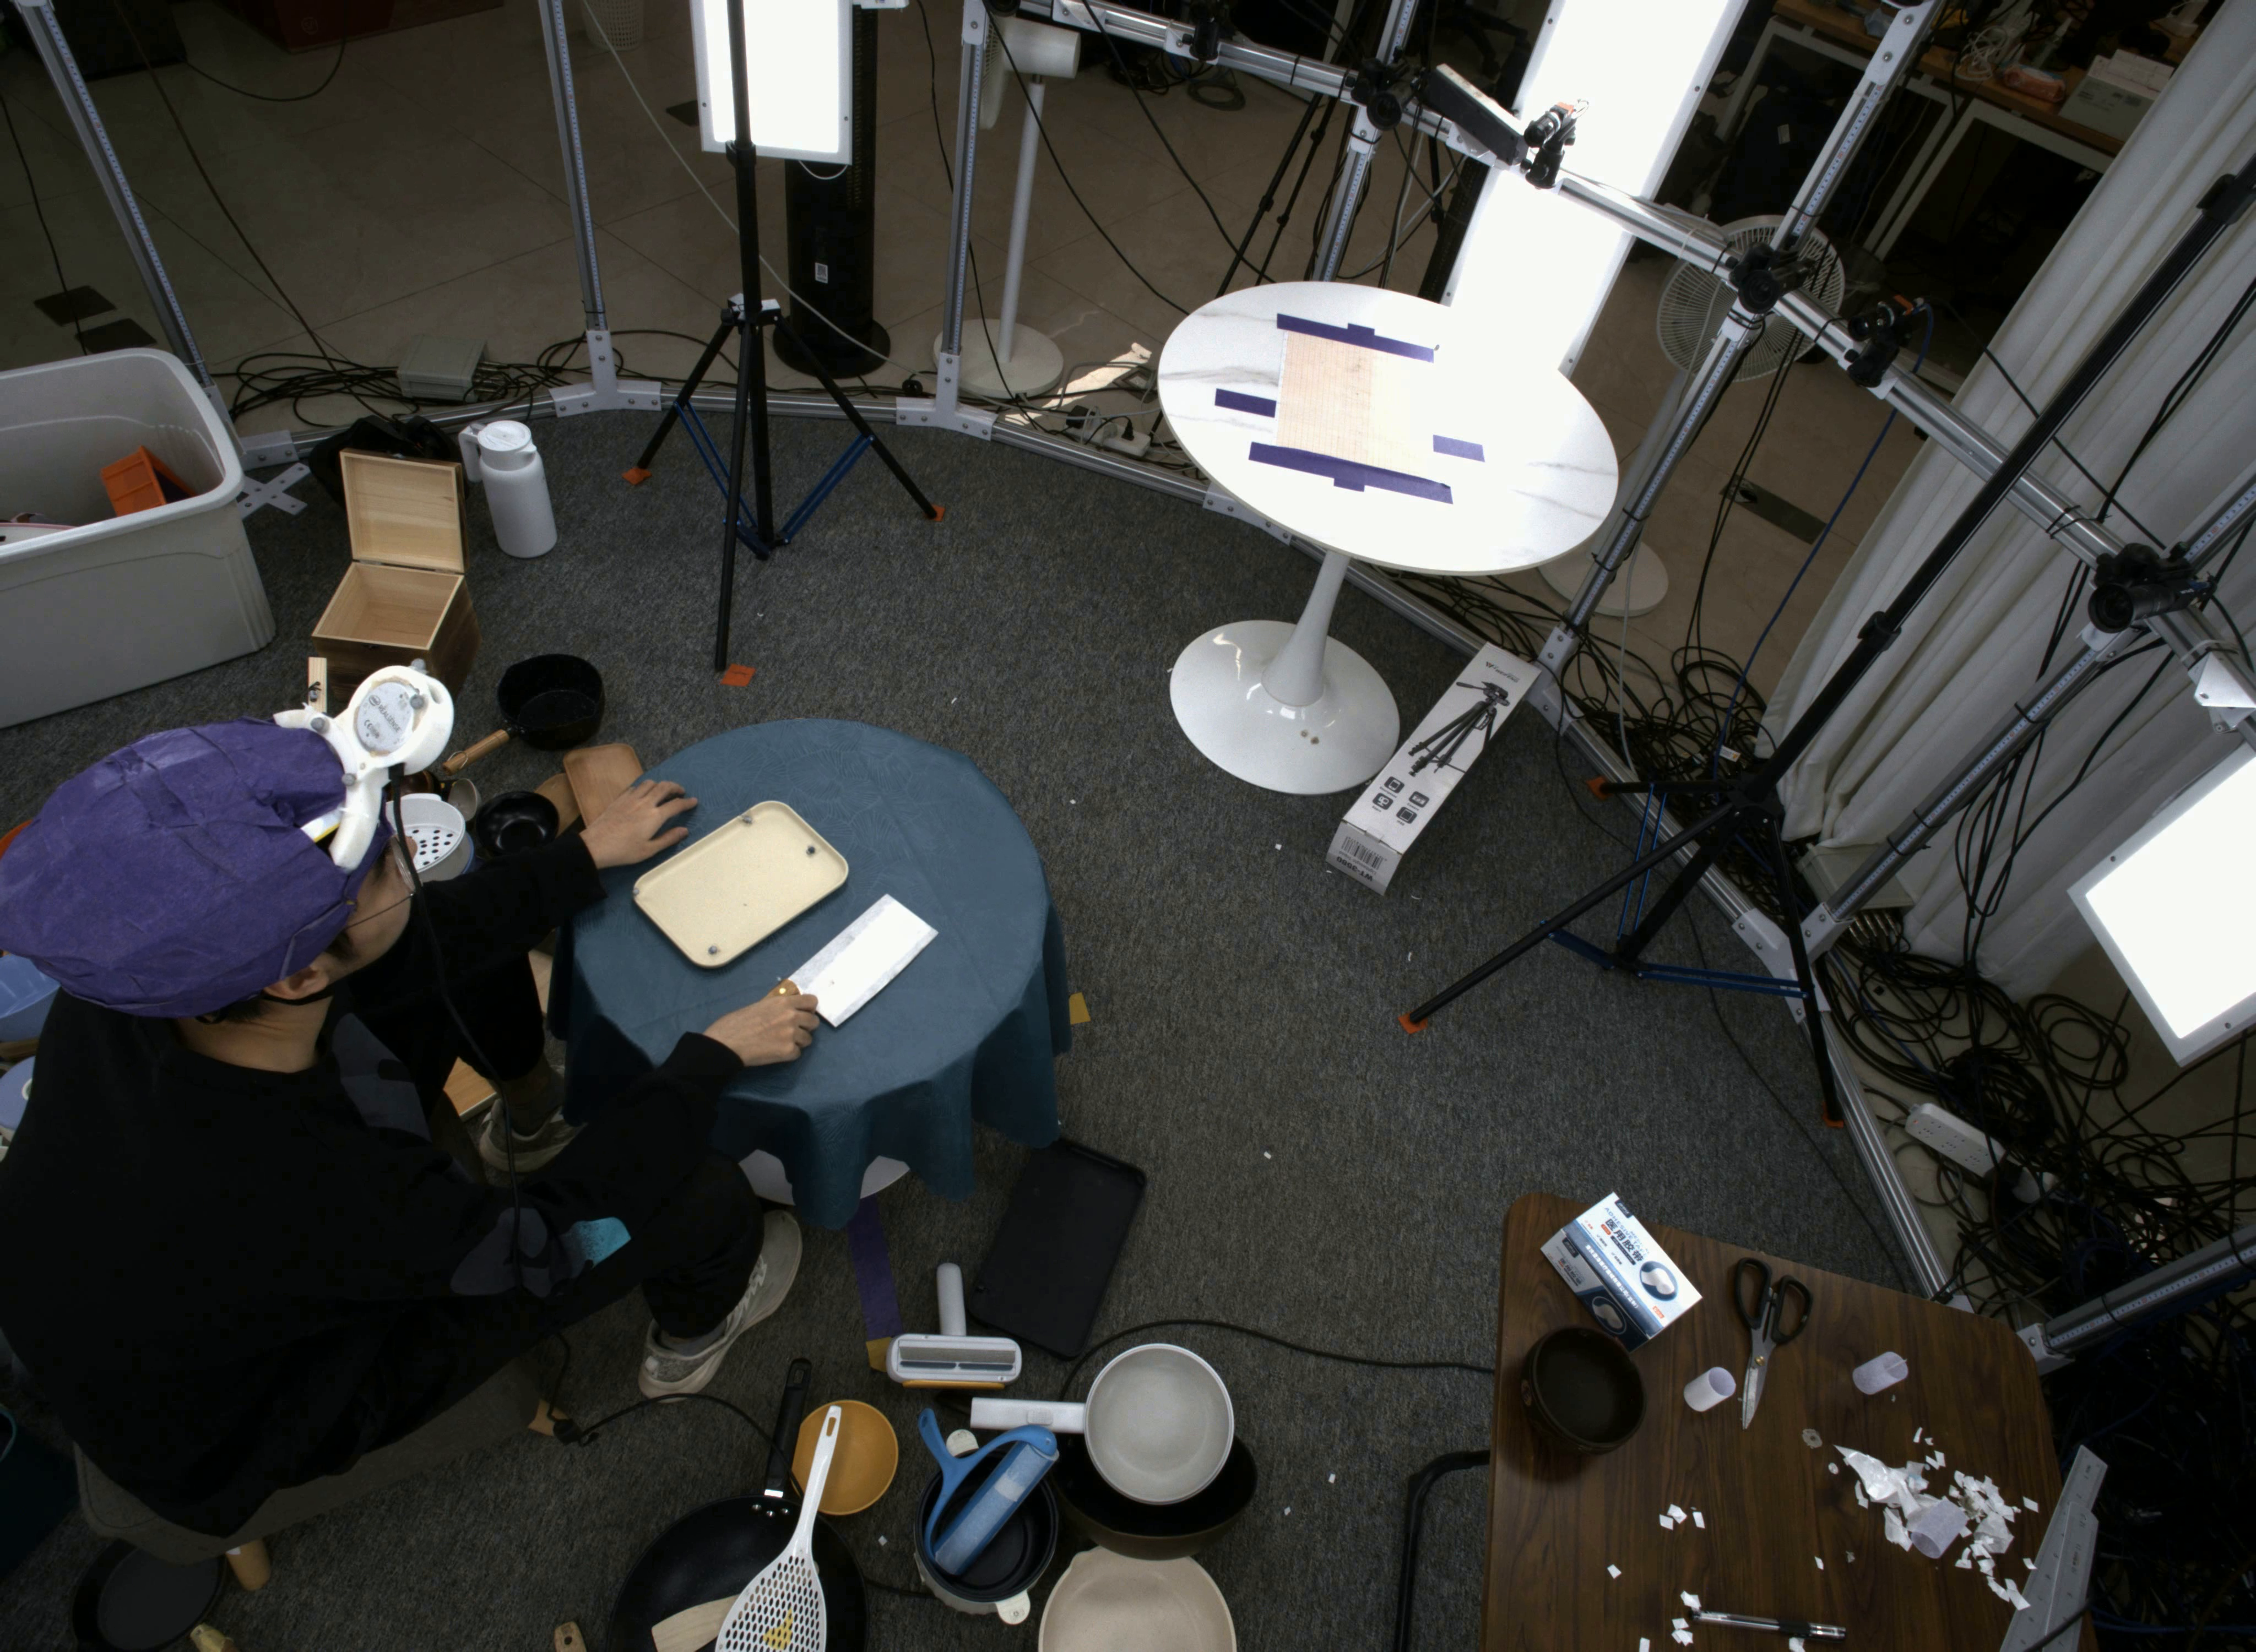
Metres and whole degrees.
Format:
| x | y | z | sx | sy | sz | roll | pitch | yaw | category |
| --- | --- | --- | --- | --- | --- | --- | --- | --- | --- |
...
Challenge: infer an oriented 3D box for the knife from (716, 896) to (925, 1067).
| x | y | z | sx | sy | sz | roll | pitch | yaw | category |
| --- | --- | --- | --- | --- | --- | --- | --- | --- | --- |
| -0.362 | 0.194 | 1.575 | 0.091 | 0.021 | 0.305 | 36 | 51 | 11 | knife |

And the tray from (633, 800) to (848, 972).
| x | y | z | sx | sy | sz | roll | pitch | yaw | category |
| --- | --- | --- | --- | --- | --- | --- | --- | --- | --- |
| -0.487 | 0.072 | 1.631 | 0.168 | 0.018 | 0.240 | 41 | 54 | 15 | tray |
